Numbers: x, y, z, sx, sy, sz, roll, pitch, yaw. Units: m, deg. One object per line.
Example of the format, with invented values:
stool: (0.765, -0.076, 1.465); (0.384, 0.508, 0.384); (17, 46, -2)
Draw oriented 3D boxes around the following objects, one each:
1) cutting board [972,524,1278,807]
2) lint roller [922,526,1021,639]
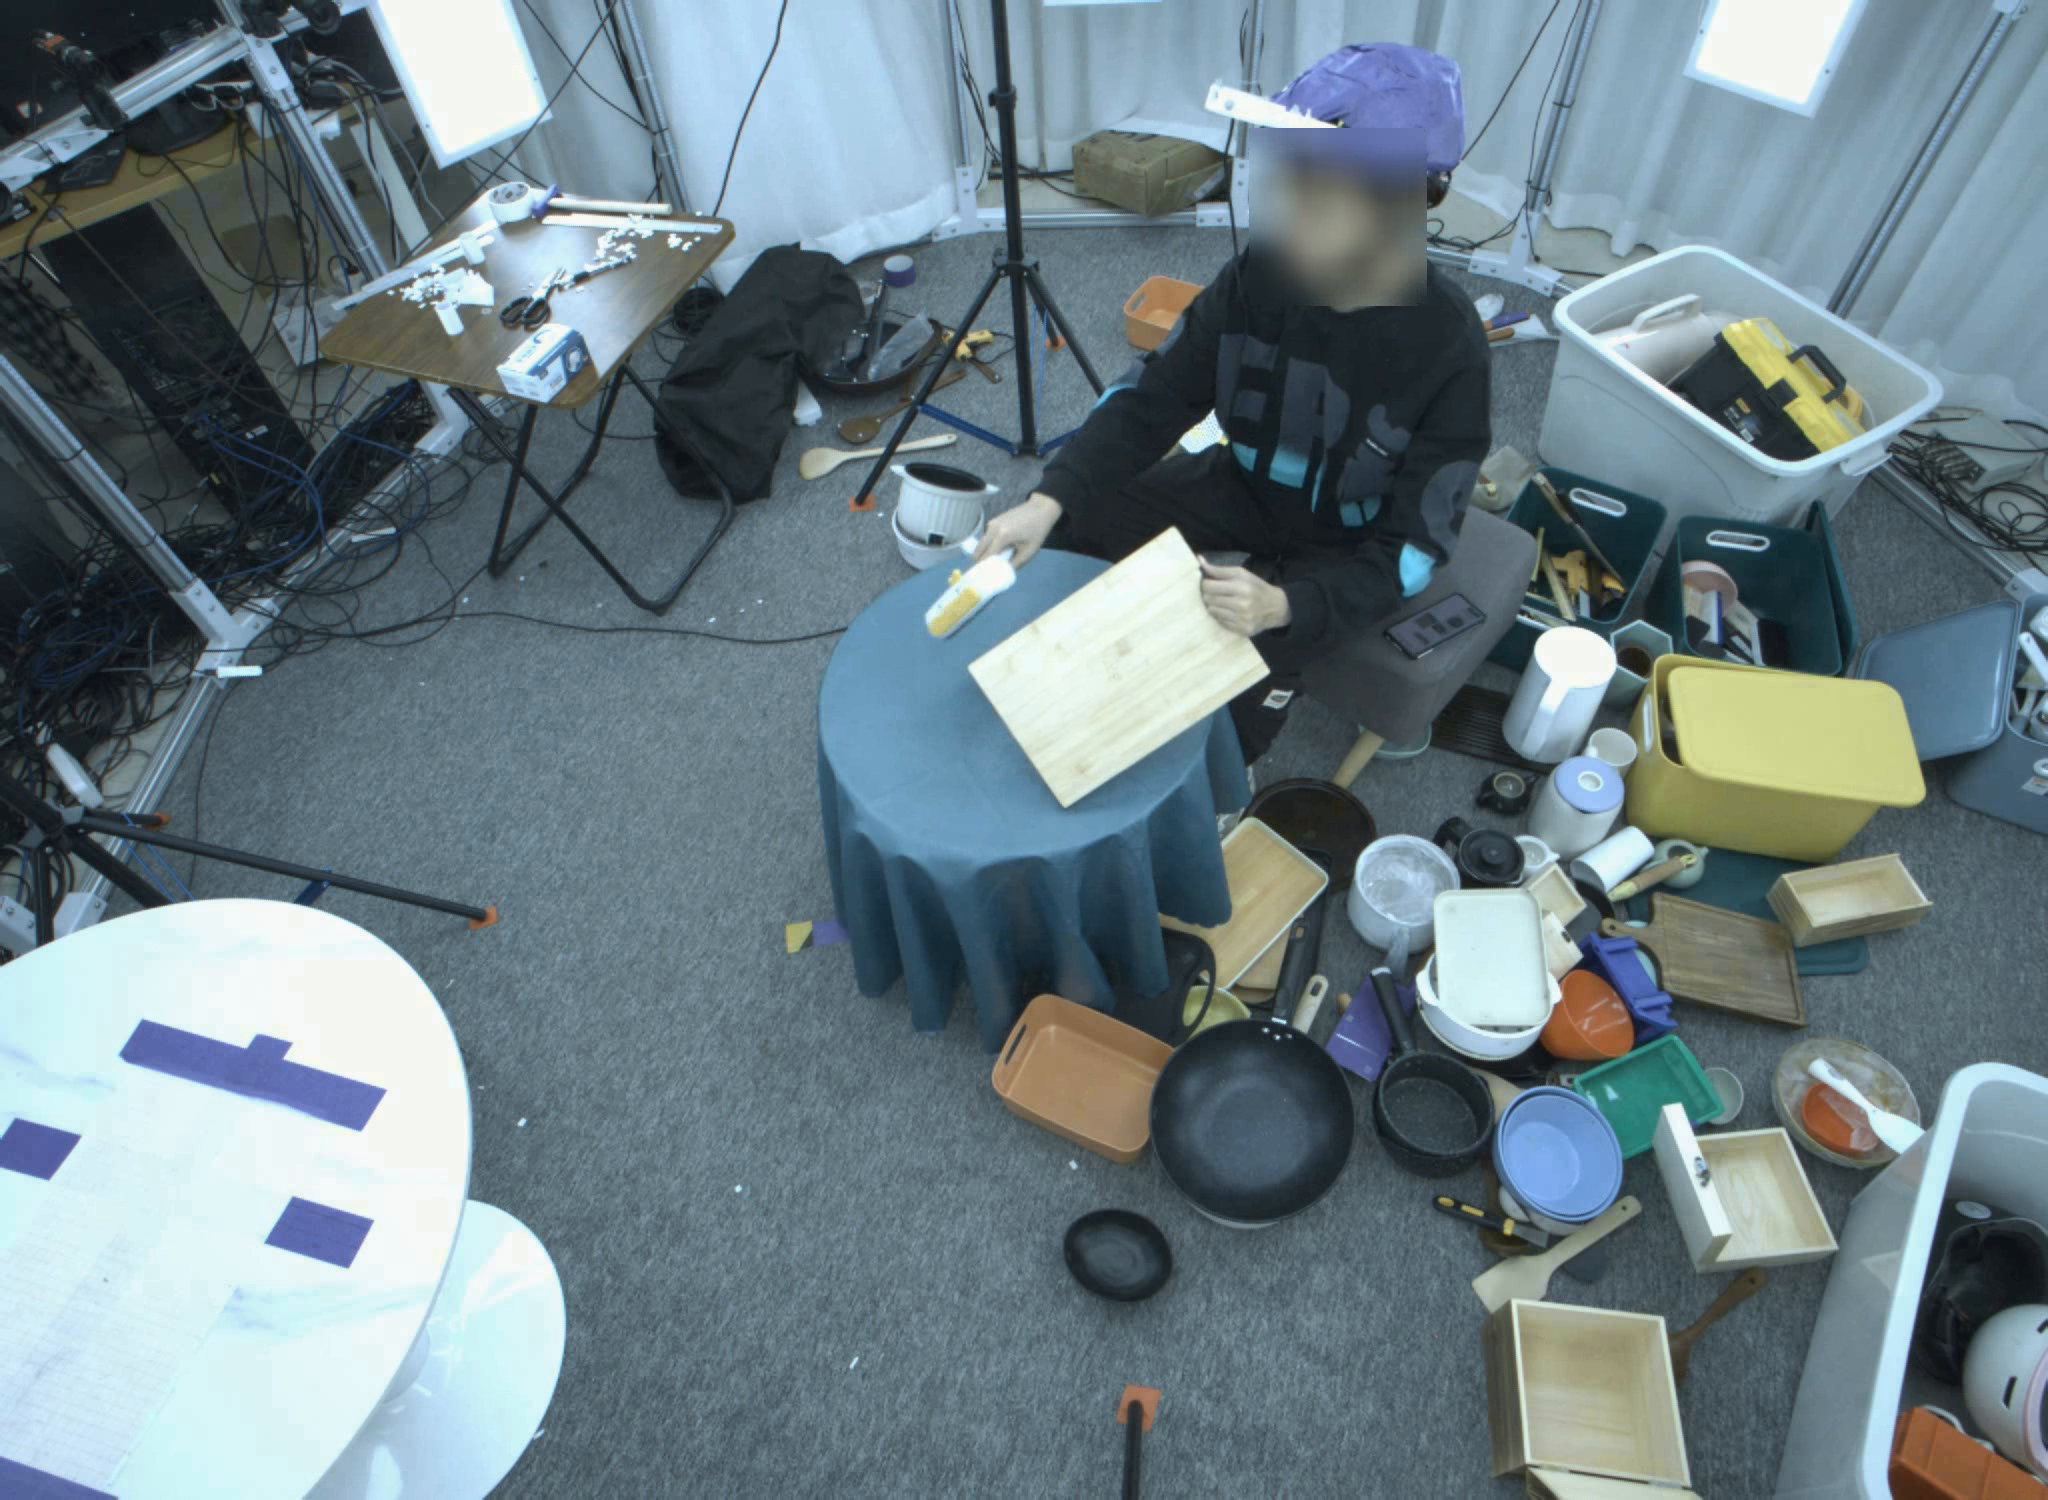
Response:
cutting board: (0.134, -0.114, 1.682); (0.348, 0.023, 0.252); (-34, 99, 6)
lint roller: (-0.053, -0.253, 1.760); (0.074, 0.191, 0.194); (47, 53, -4)
